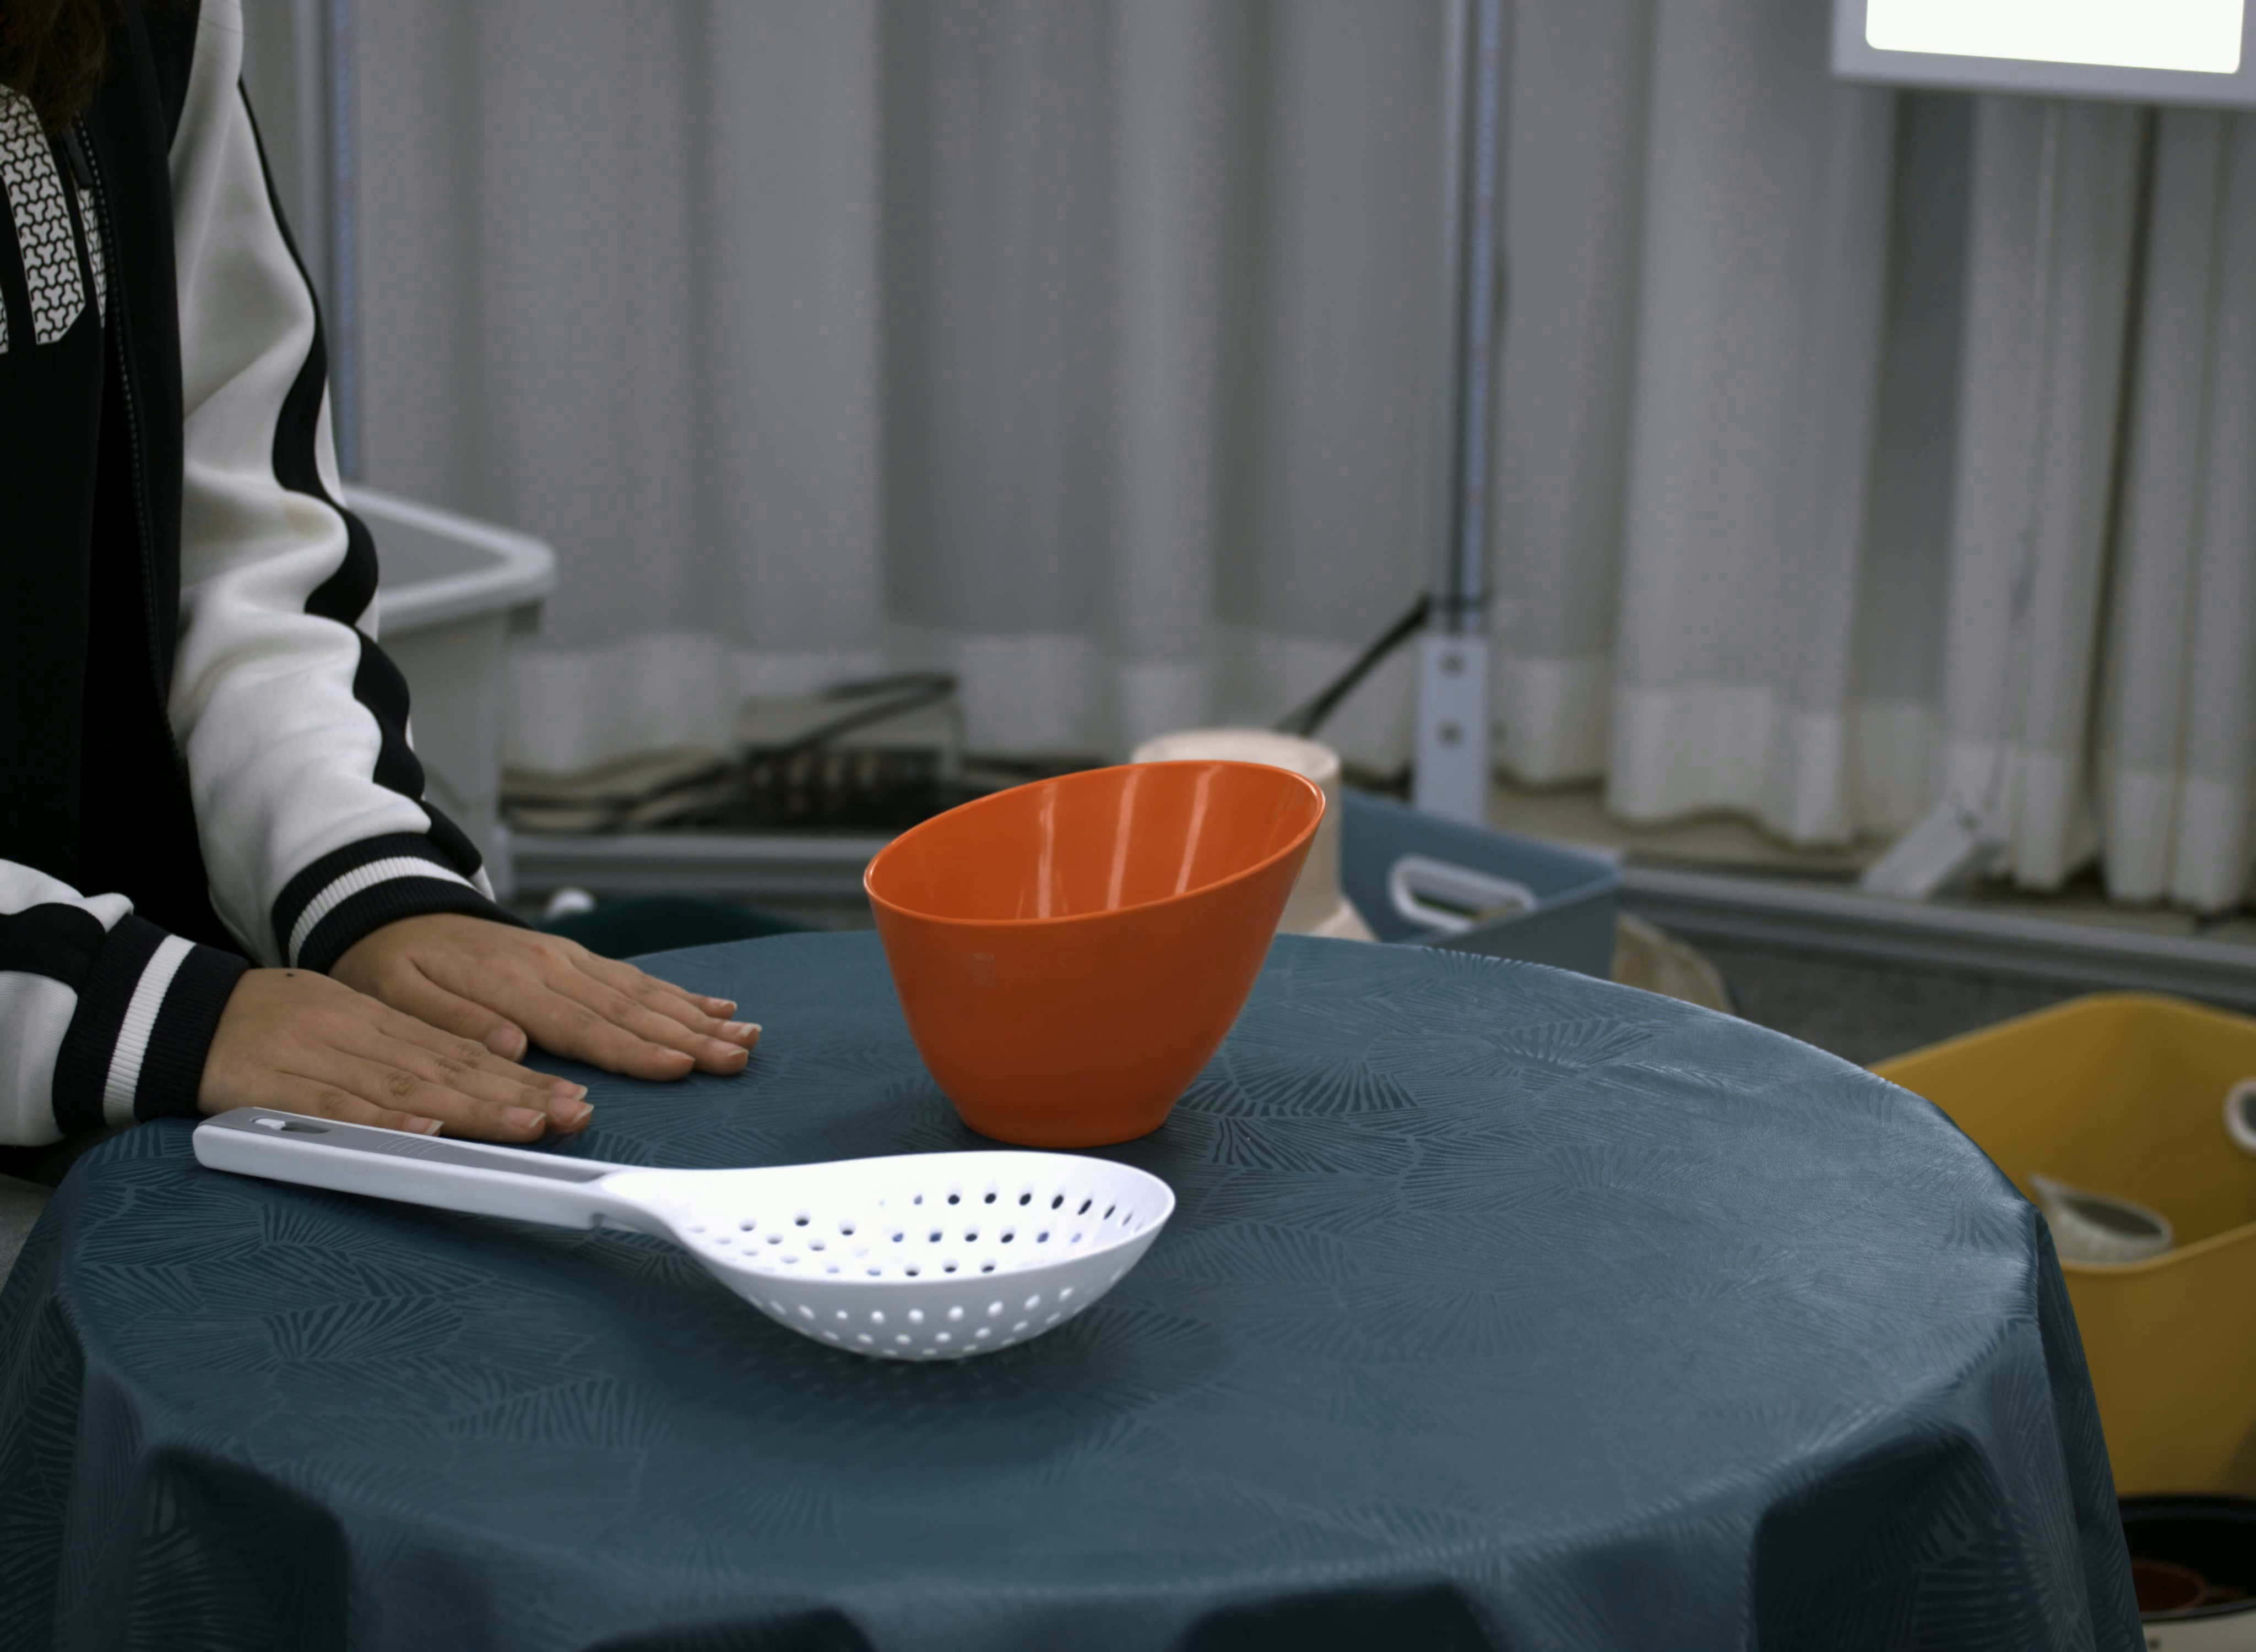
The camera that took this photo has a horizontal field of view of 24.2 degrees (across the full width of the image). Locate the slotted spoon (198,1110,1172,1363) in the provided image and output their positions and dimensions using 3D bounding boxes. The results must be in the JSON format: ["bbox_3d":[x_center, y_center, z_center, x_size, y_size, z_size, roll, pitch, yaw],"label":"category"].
[{"bbox_3d":[-0.142,0.110,1.542,0.345,0.046,0.136,10,17,34],"label":"slotted spoon"}]

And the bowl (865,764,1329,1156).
[{"bbox_3d":[-0.009,0.045,1.678,0.147,0.105,0.147,0,18,1],"label":"bowl"}]
